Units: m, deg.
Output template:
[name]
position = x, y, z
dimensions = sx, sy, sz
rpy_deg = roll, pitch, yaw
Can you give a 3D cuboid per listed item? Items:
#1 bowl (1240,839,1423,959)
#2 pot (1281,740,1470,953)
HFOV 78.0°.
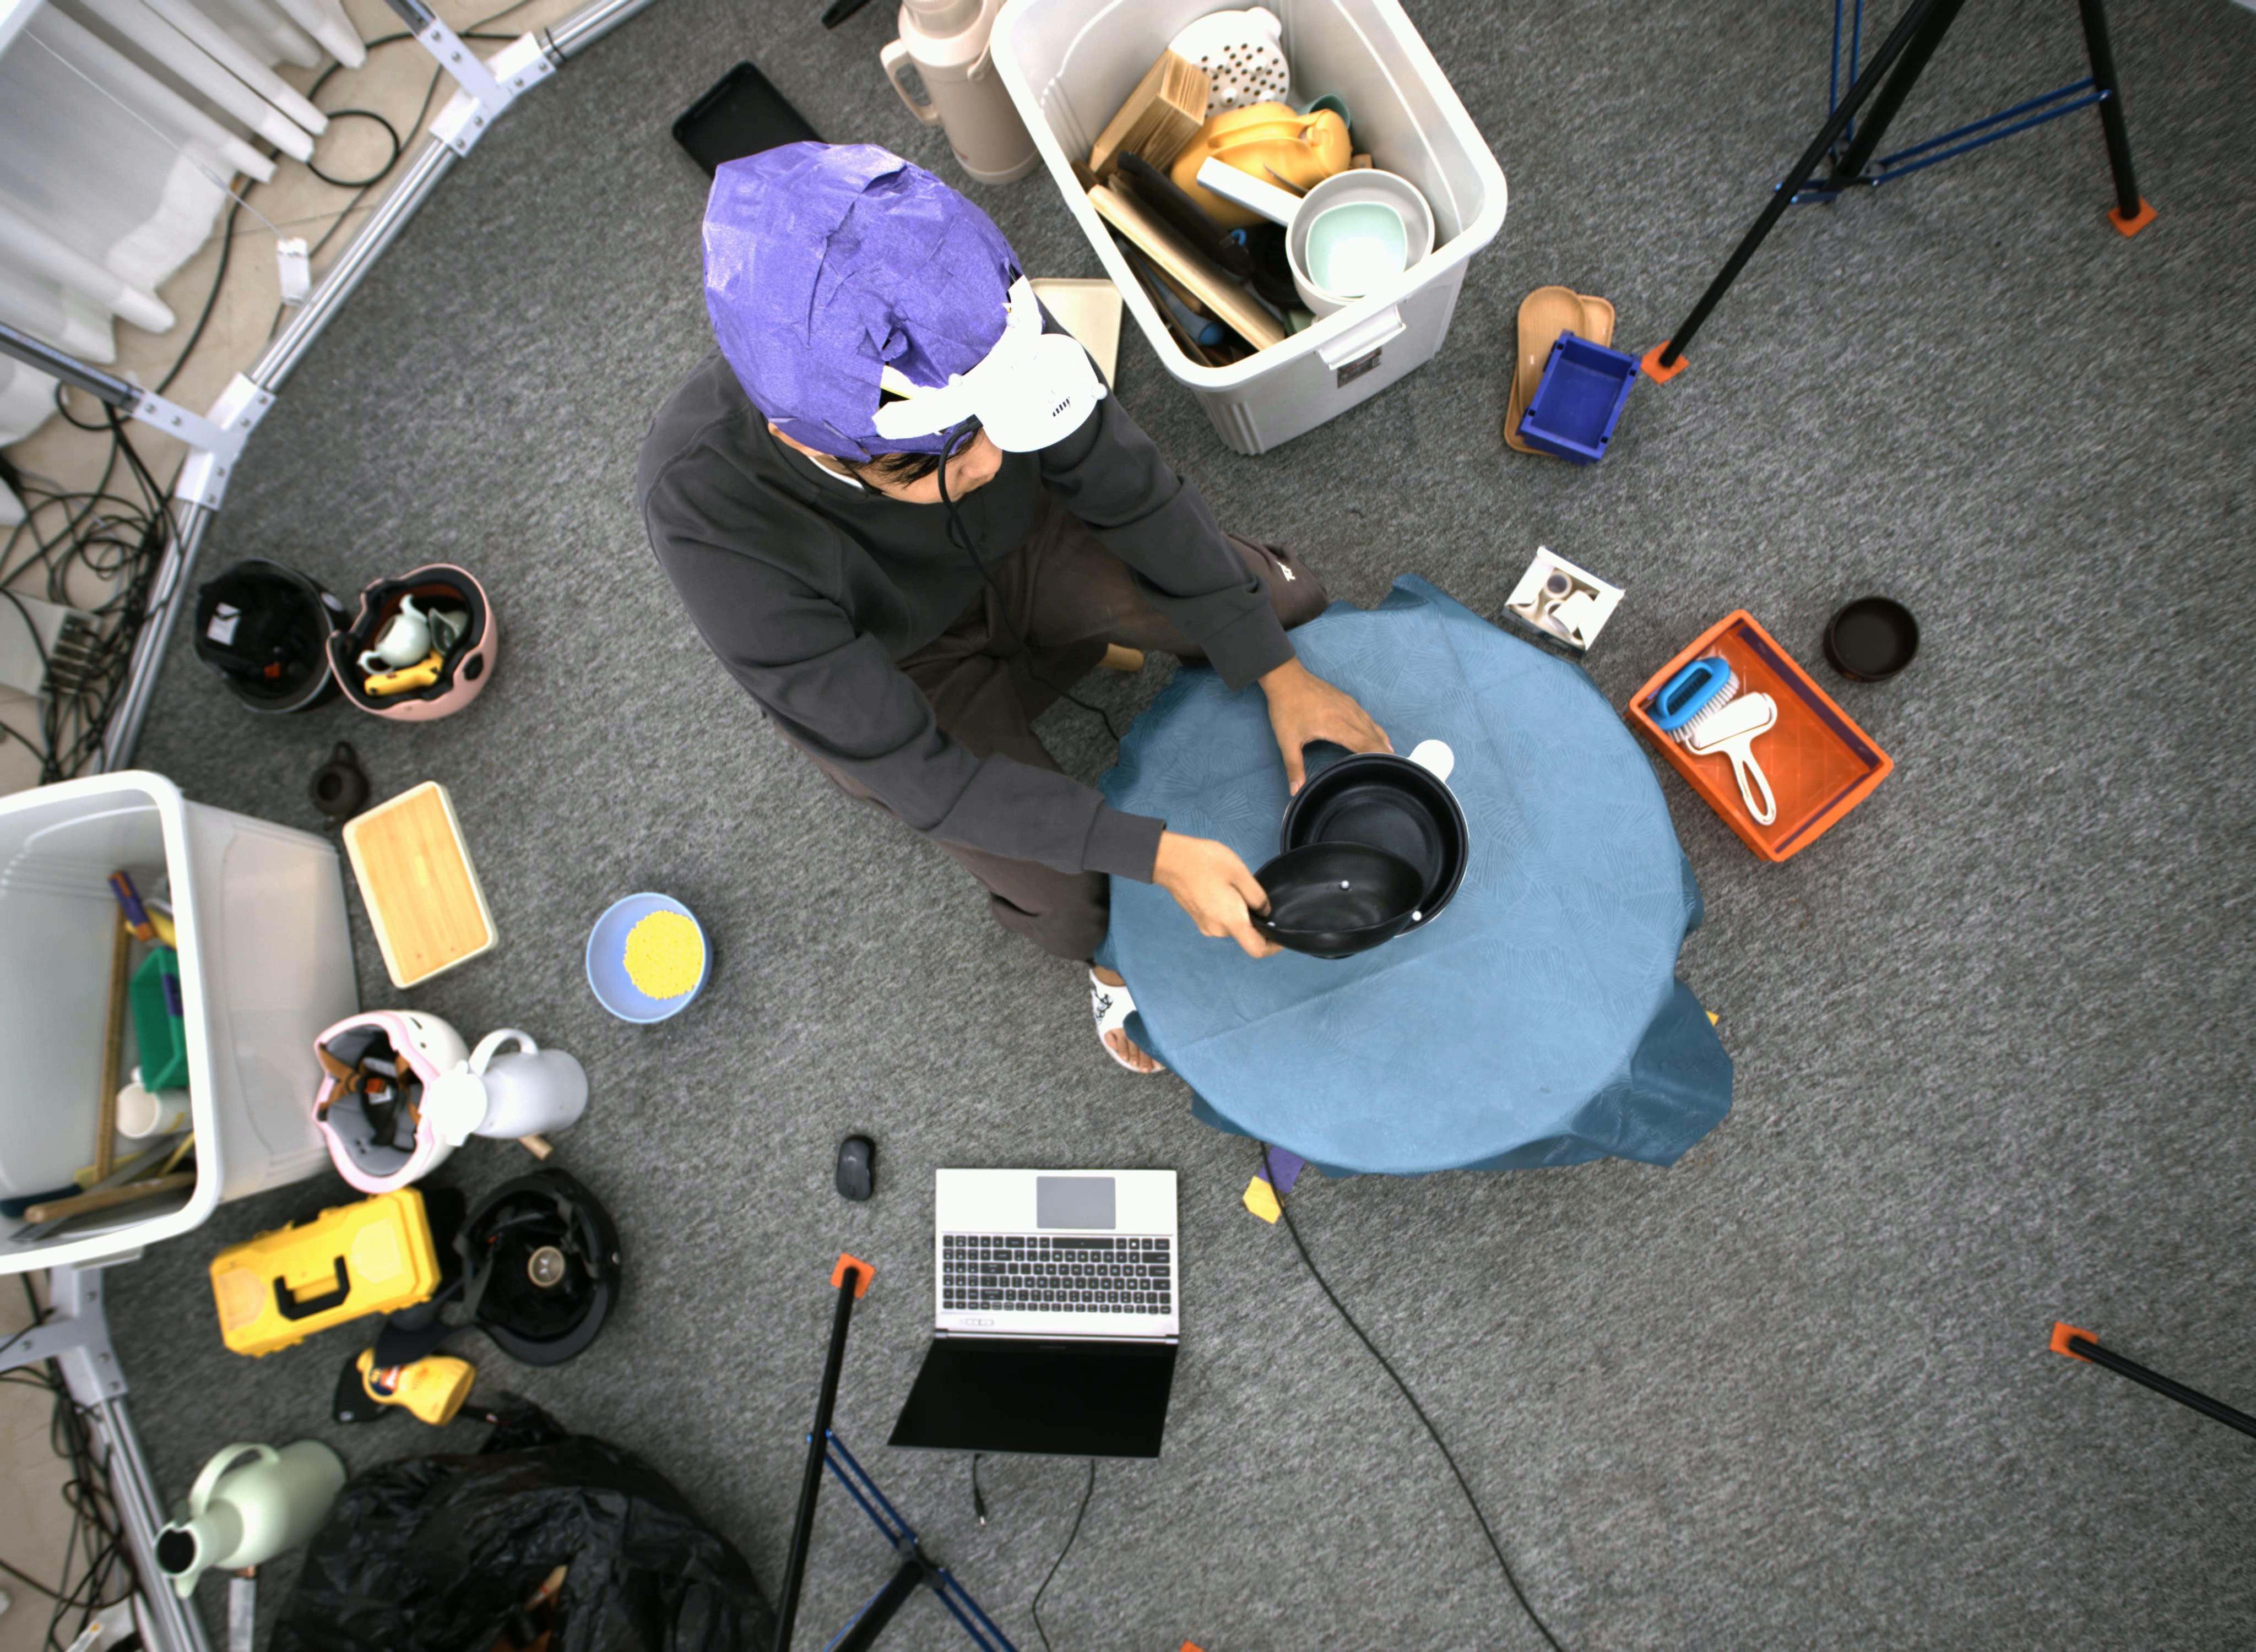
[bowl]
position = 0.189, 0.078, 1.284
dimensions = 0.170, 0.134, 0.068
rpy_deg = -11, 126, -8
[pot]
position = 0.244, 0.023, 1.399
dimensions = 0.190, 0.143, 0.240
rpy_deg = 34, 91, 8
